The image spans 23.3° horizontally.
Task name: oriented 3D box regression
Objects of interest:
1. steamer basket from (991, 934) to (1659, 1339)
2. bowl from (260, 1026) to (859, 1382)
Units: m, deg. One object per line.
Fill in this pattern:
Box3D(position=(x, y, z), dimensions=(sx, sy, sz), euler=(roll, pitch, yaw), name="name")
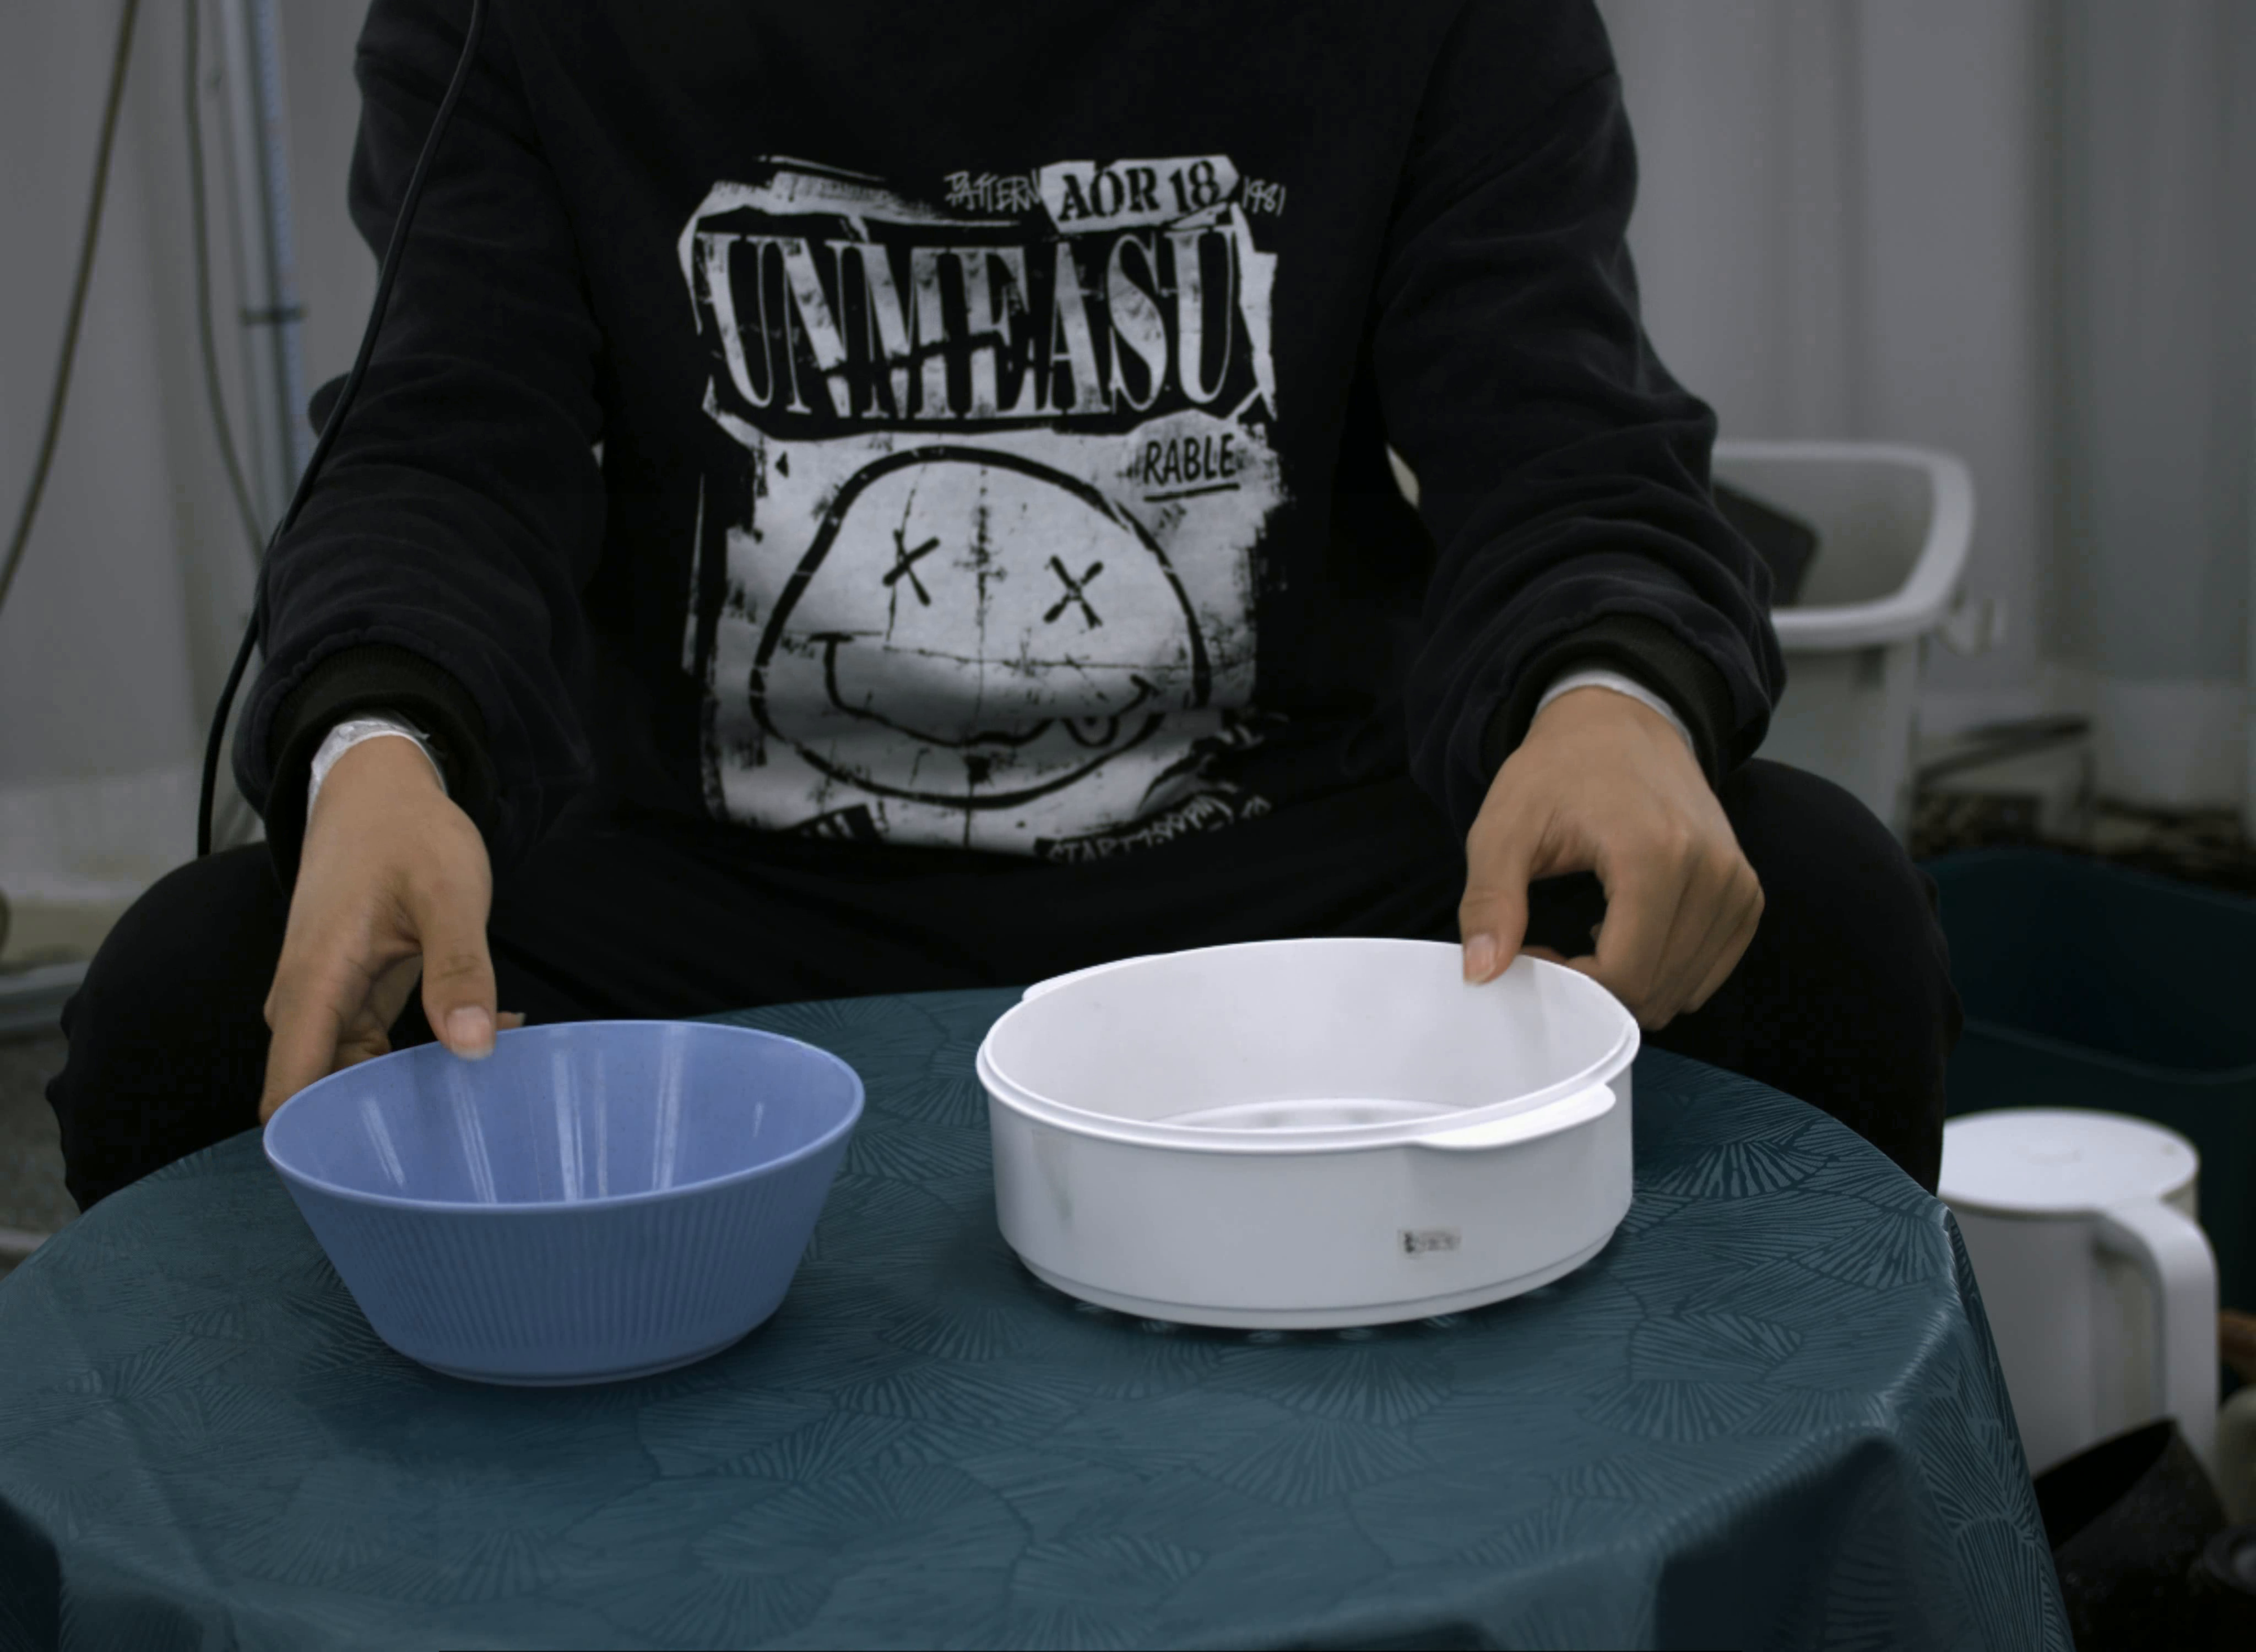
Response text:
Box3D(position=(0.060, 0.094, 1.650), dimensions=(0.201, 0.069, 0.232), euler=(-13, 20, -35), name="steamer basket")
Box3D(position=(-0.166, 0.114, 1.613), dimensions=(0.175, 0.070, 0.177), euler=(-2, 14, 0), name="bowl")
